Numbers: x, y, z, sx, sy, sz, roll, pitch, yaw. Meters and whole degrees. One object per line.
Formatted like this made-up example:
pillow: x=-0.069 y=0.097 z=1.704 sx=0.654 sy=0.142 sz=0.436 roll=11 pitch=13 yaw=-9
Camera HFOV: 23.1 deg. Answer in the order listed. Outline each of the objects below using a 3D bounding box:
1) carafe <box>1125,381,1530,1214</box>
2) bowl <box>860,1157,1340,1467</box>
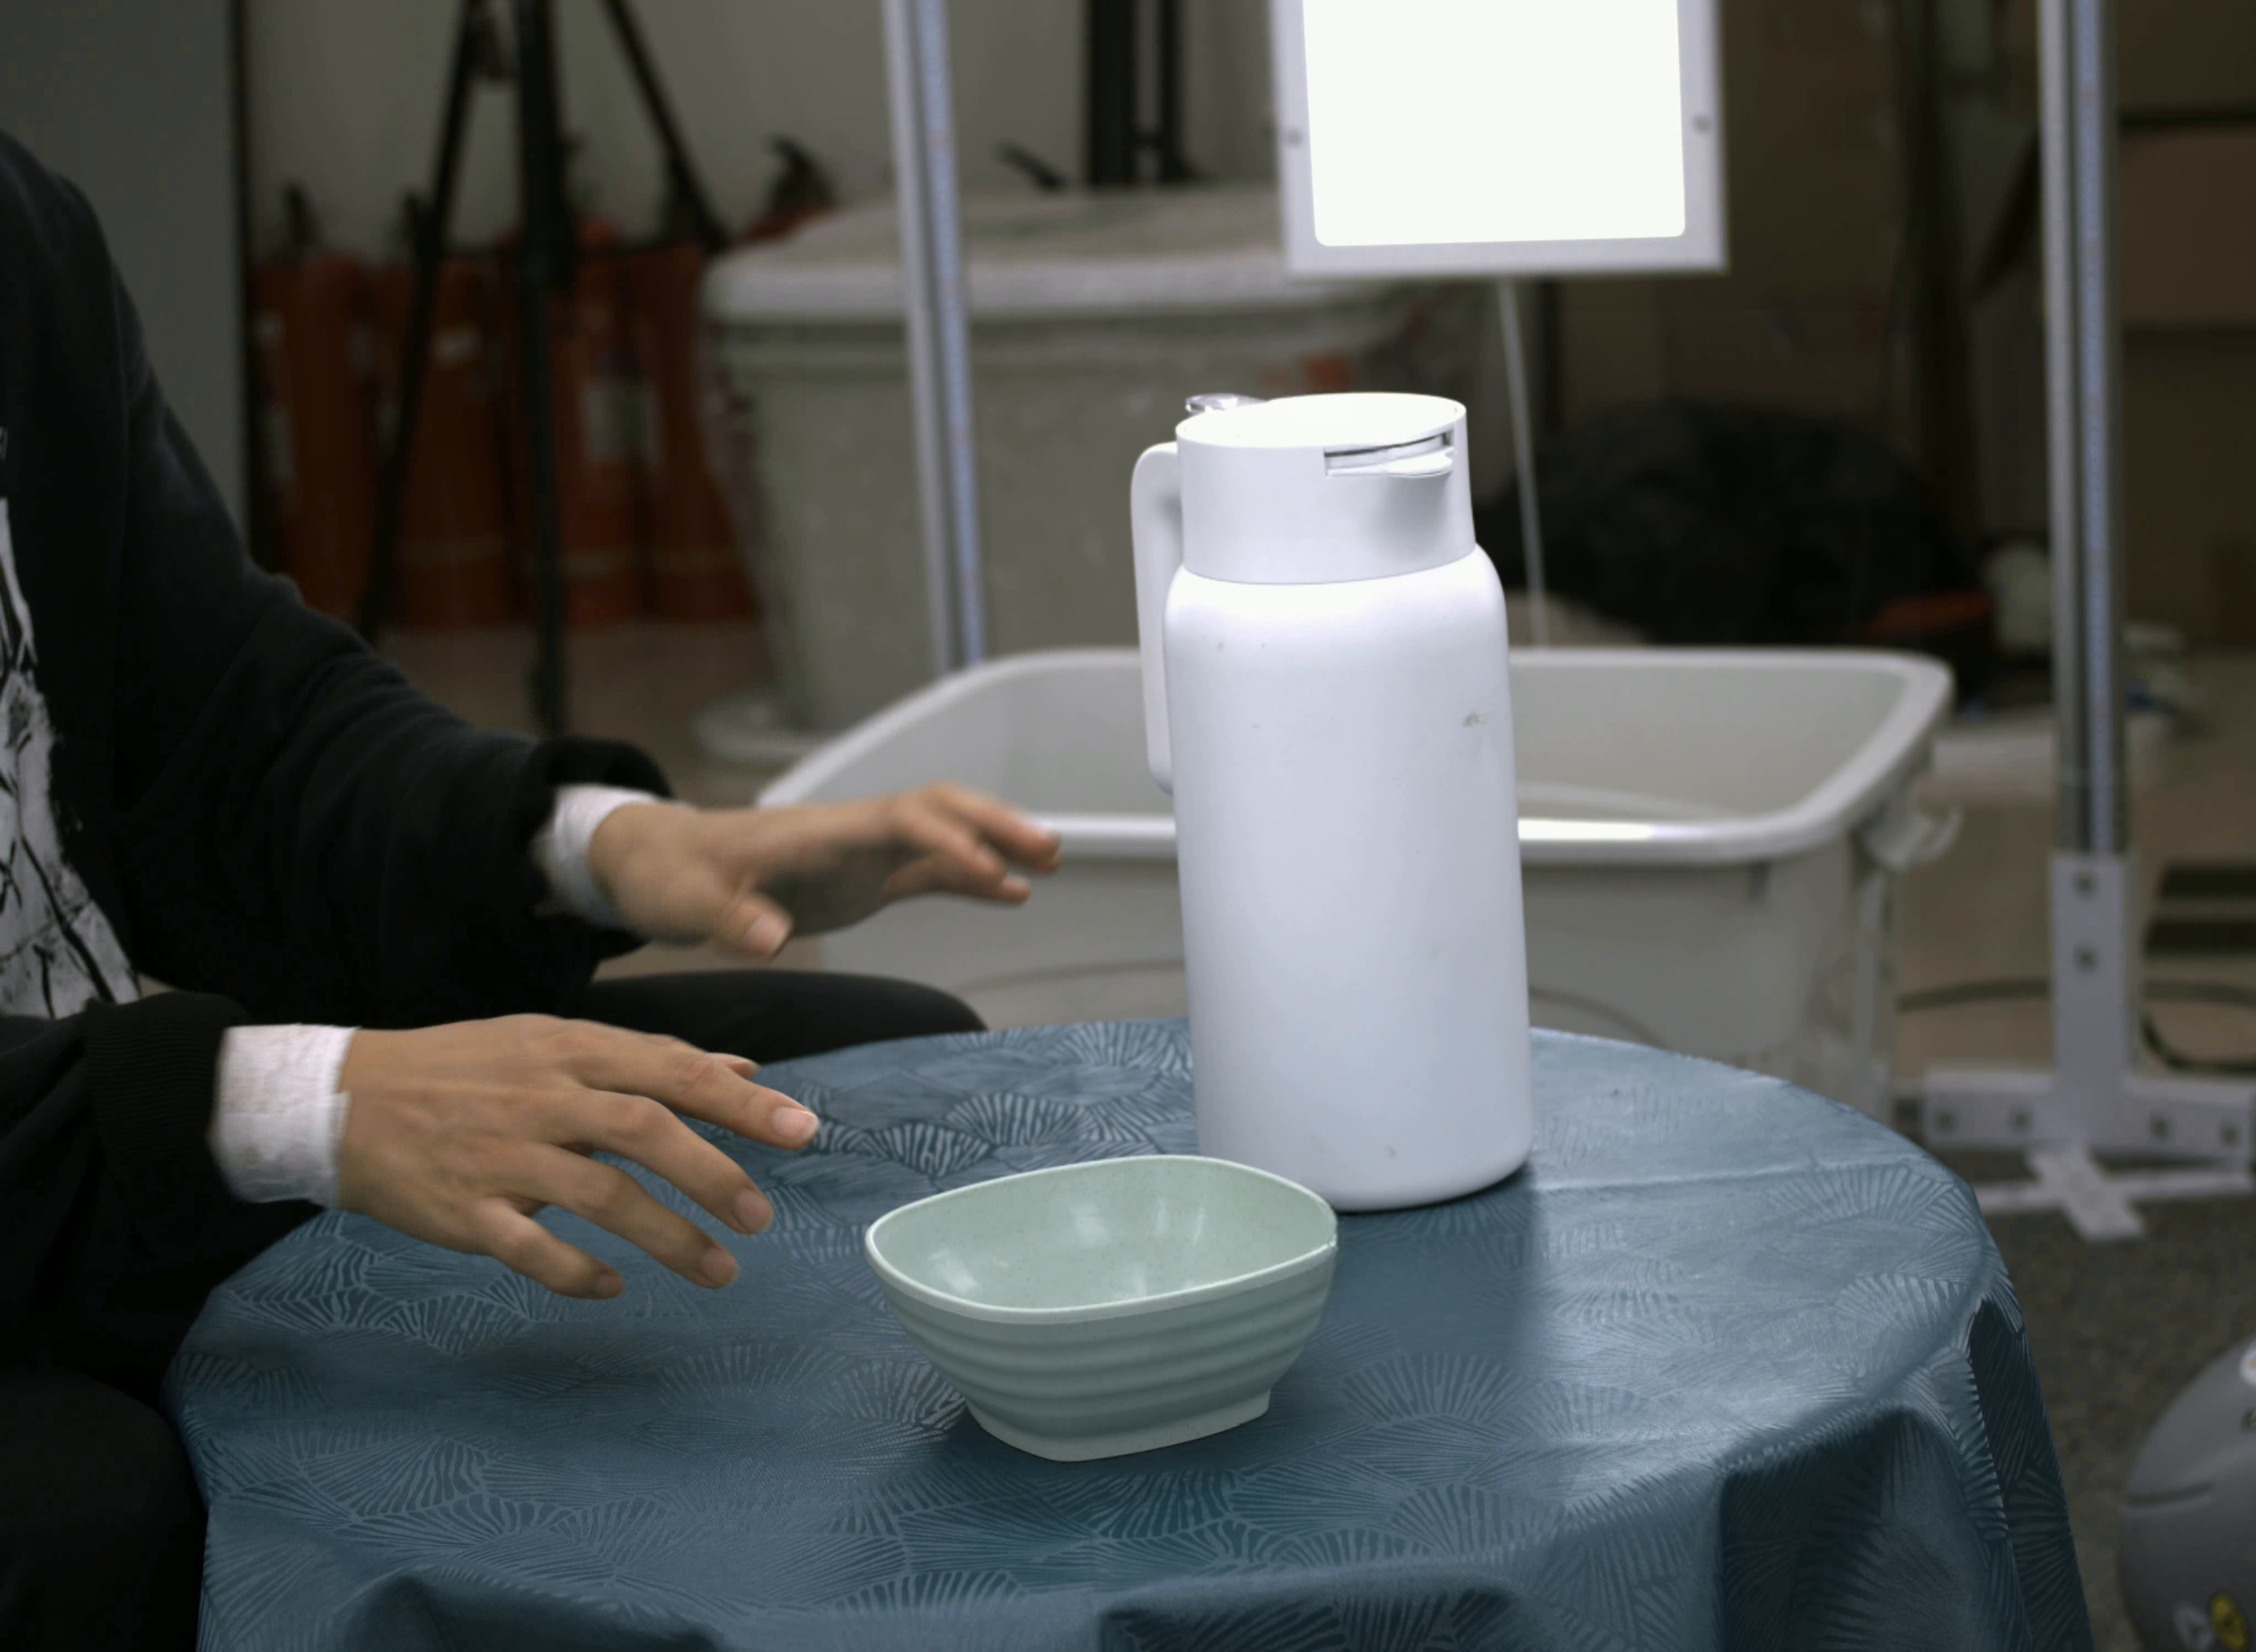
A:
carafe: x=0.062 y=-0.012 z=1.882 sx=0.121 sy=0.270 sz=0.176 roll=-15 pitch=17 yaw=-30
bowl: x=-0.007 y=0.152 z=1.685 sx=0.151 sy=0.059 sz=0.151 roll=-4 pitch=14 yaw=0
